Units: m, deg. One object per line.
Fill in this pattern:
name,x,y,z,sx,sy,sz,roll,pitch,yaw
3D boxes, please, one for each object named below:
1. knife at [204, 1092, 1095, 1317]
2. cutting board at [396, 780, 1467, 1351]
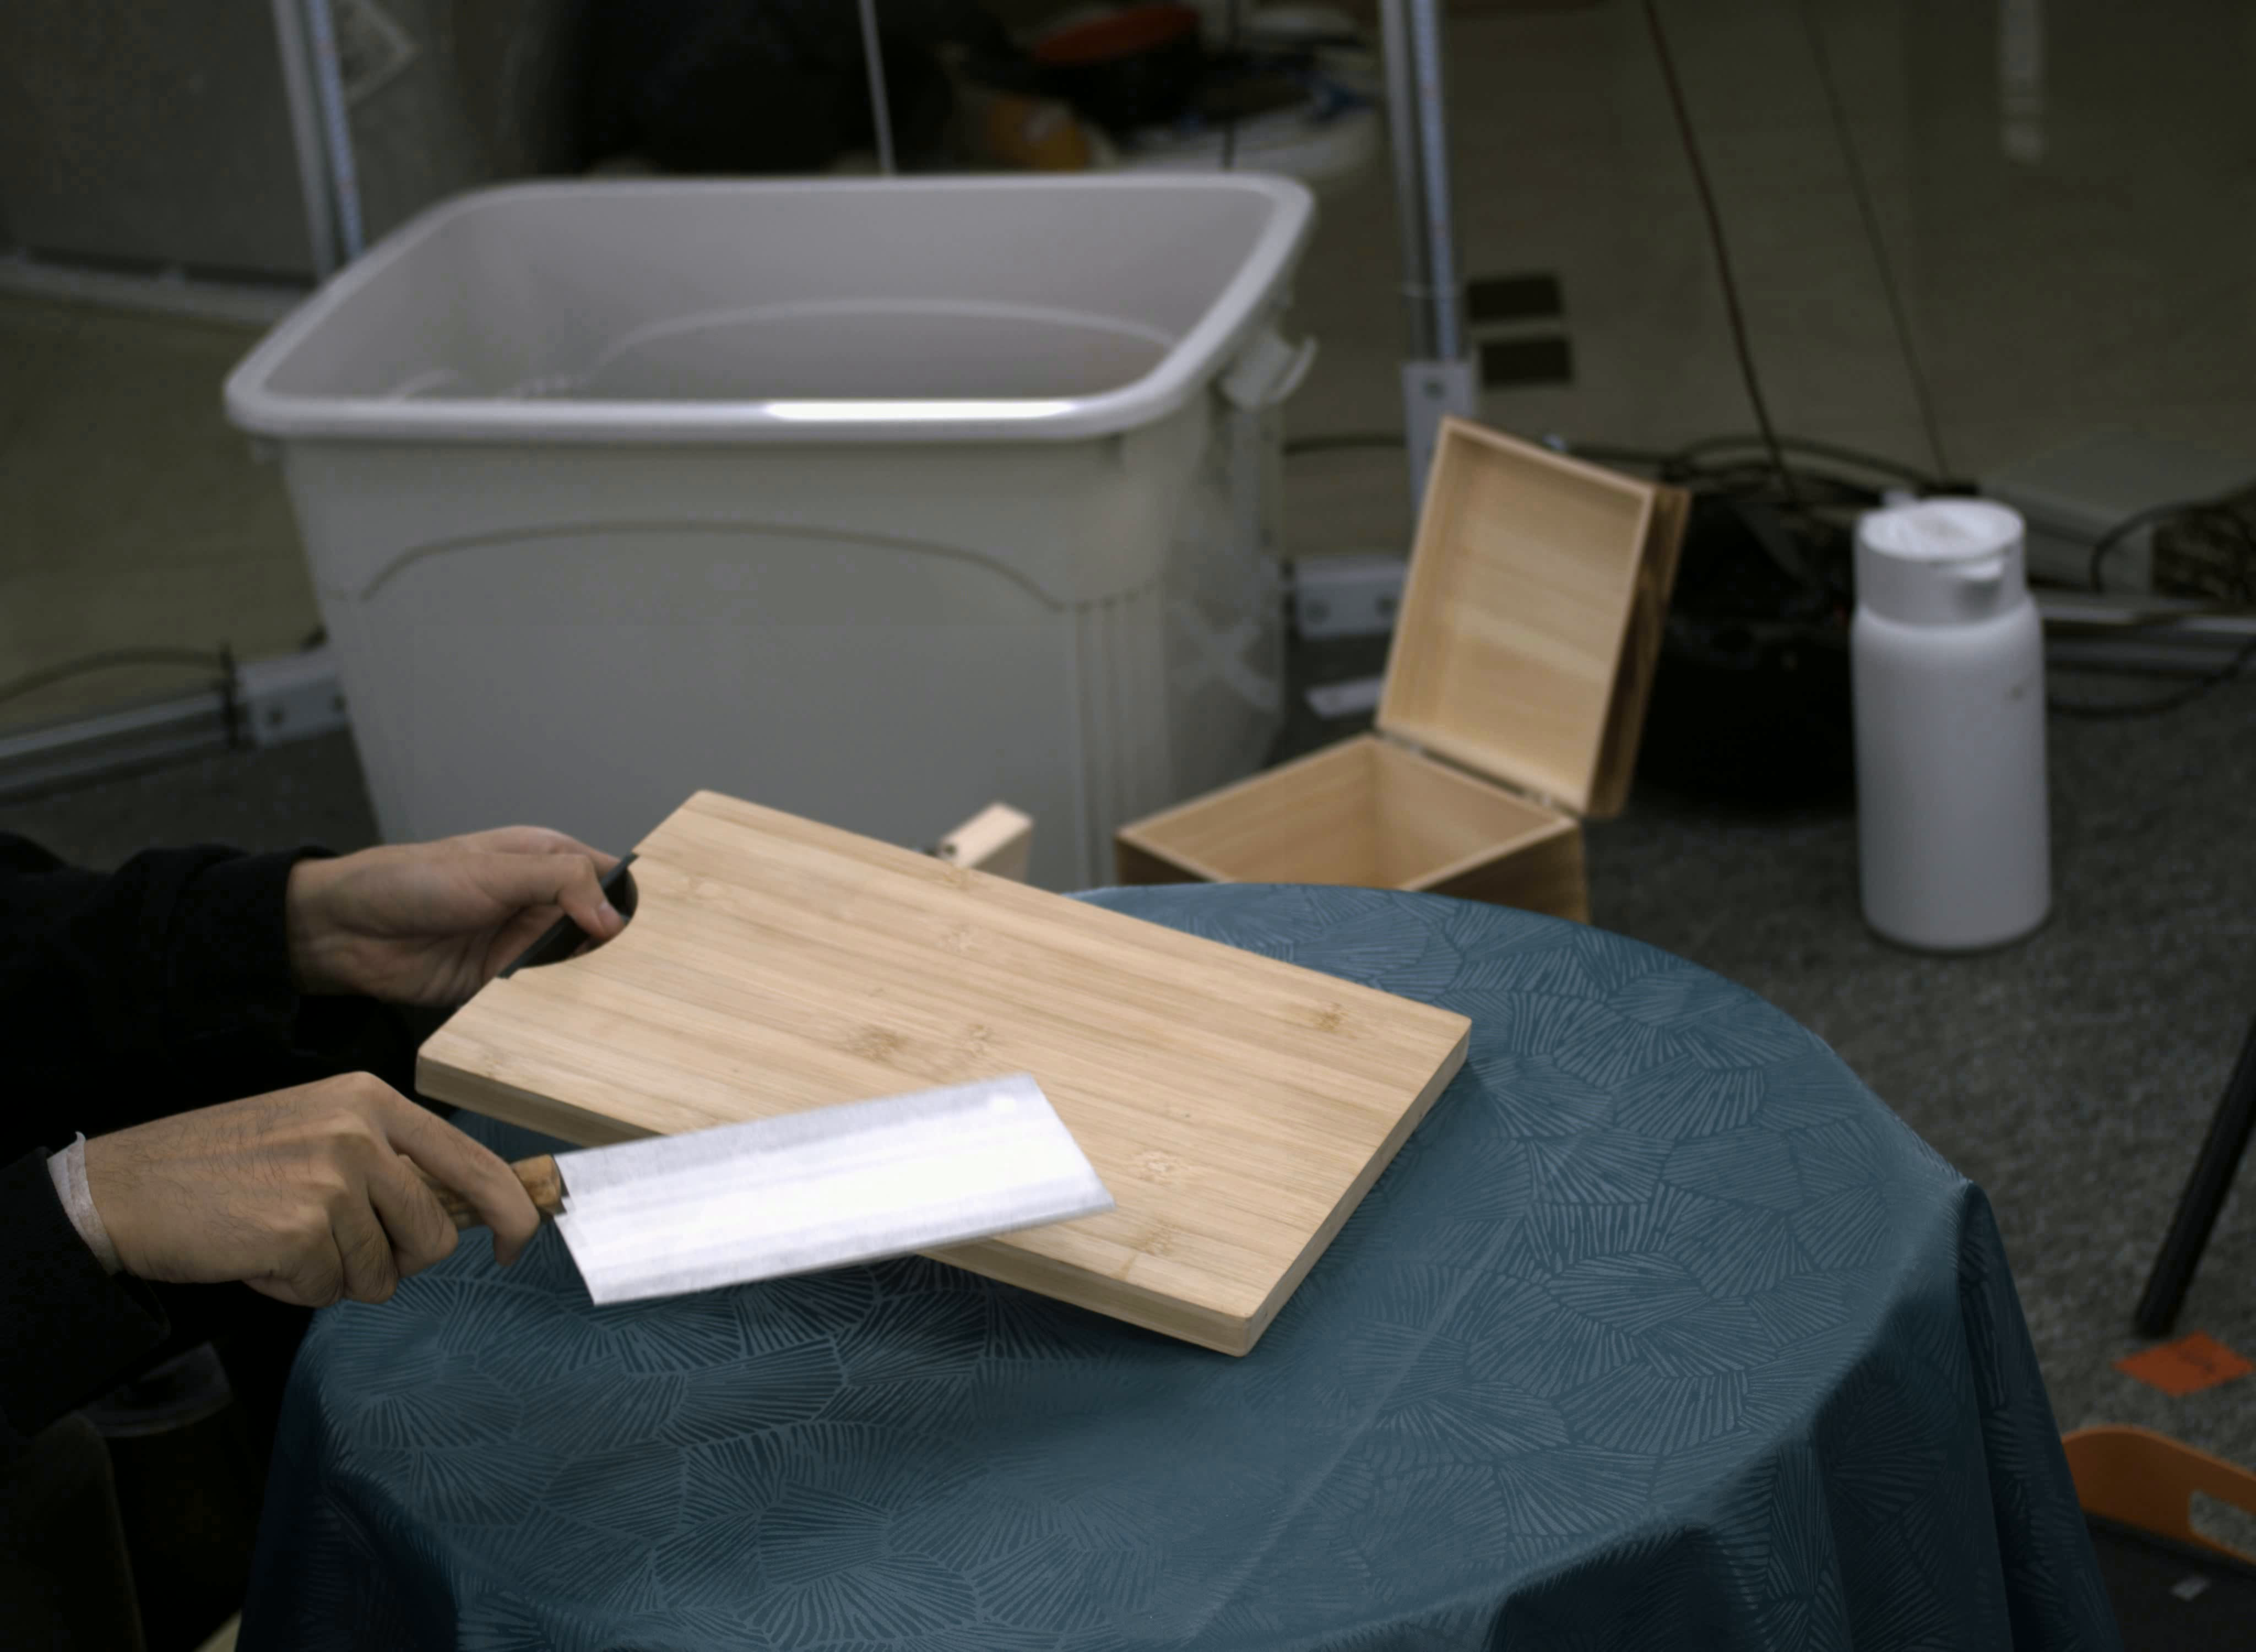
knife,-0.161,0.136,1.958,0.305,0.021,0.091,-8,33,-19
cutting board,-0.072,0.086,2.170,0.347,0.024,0.247,16,31,16
